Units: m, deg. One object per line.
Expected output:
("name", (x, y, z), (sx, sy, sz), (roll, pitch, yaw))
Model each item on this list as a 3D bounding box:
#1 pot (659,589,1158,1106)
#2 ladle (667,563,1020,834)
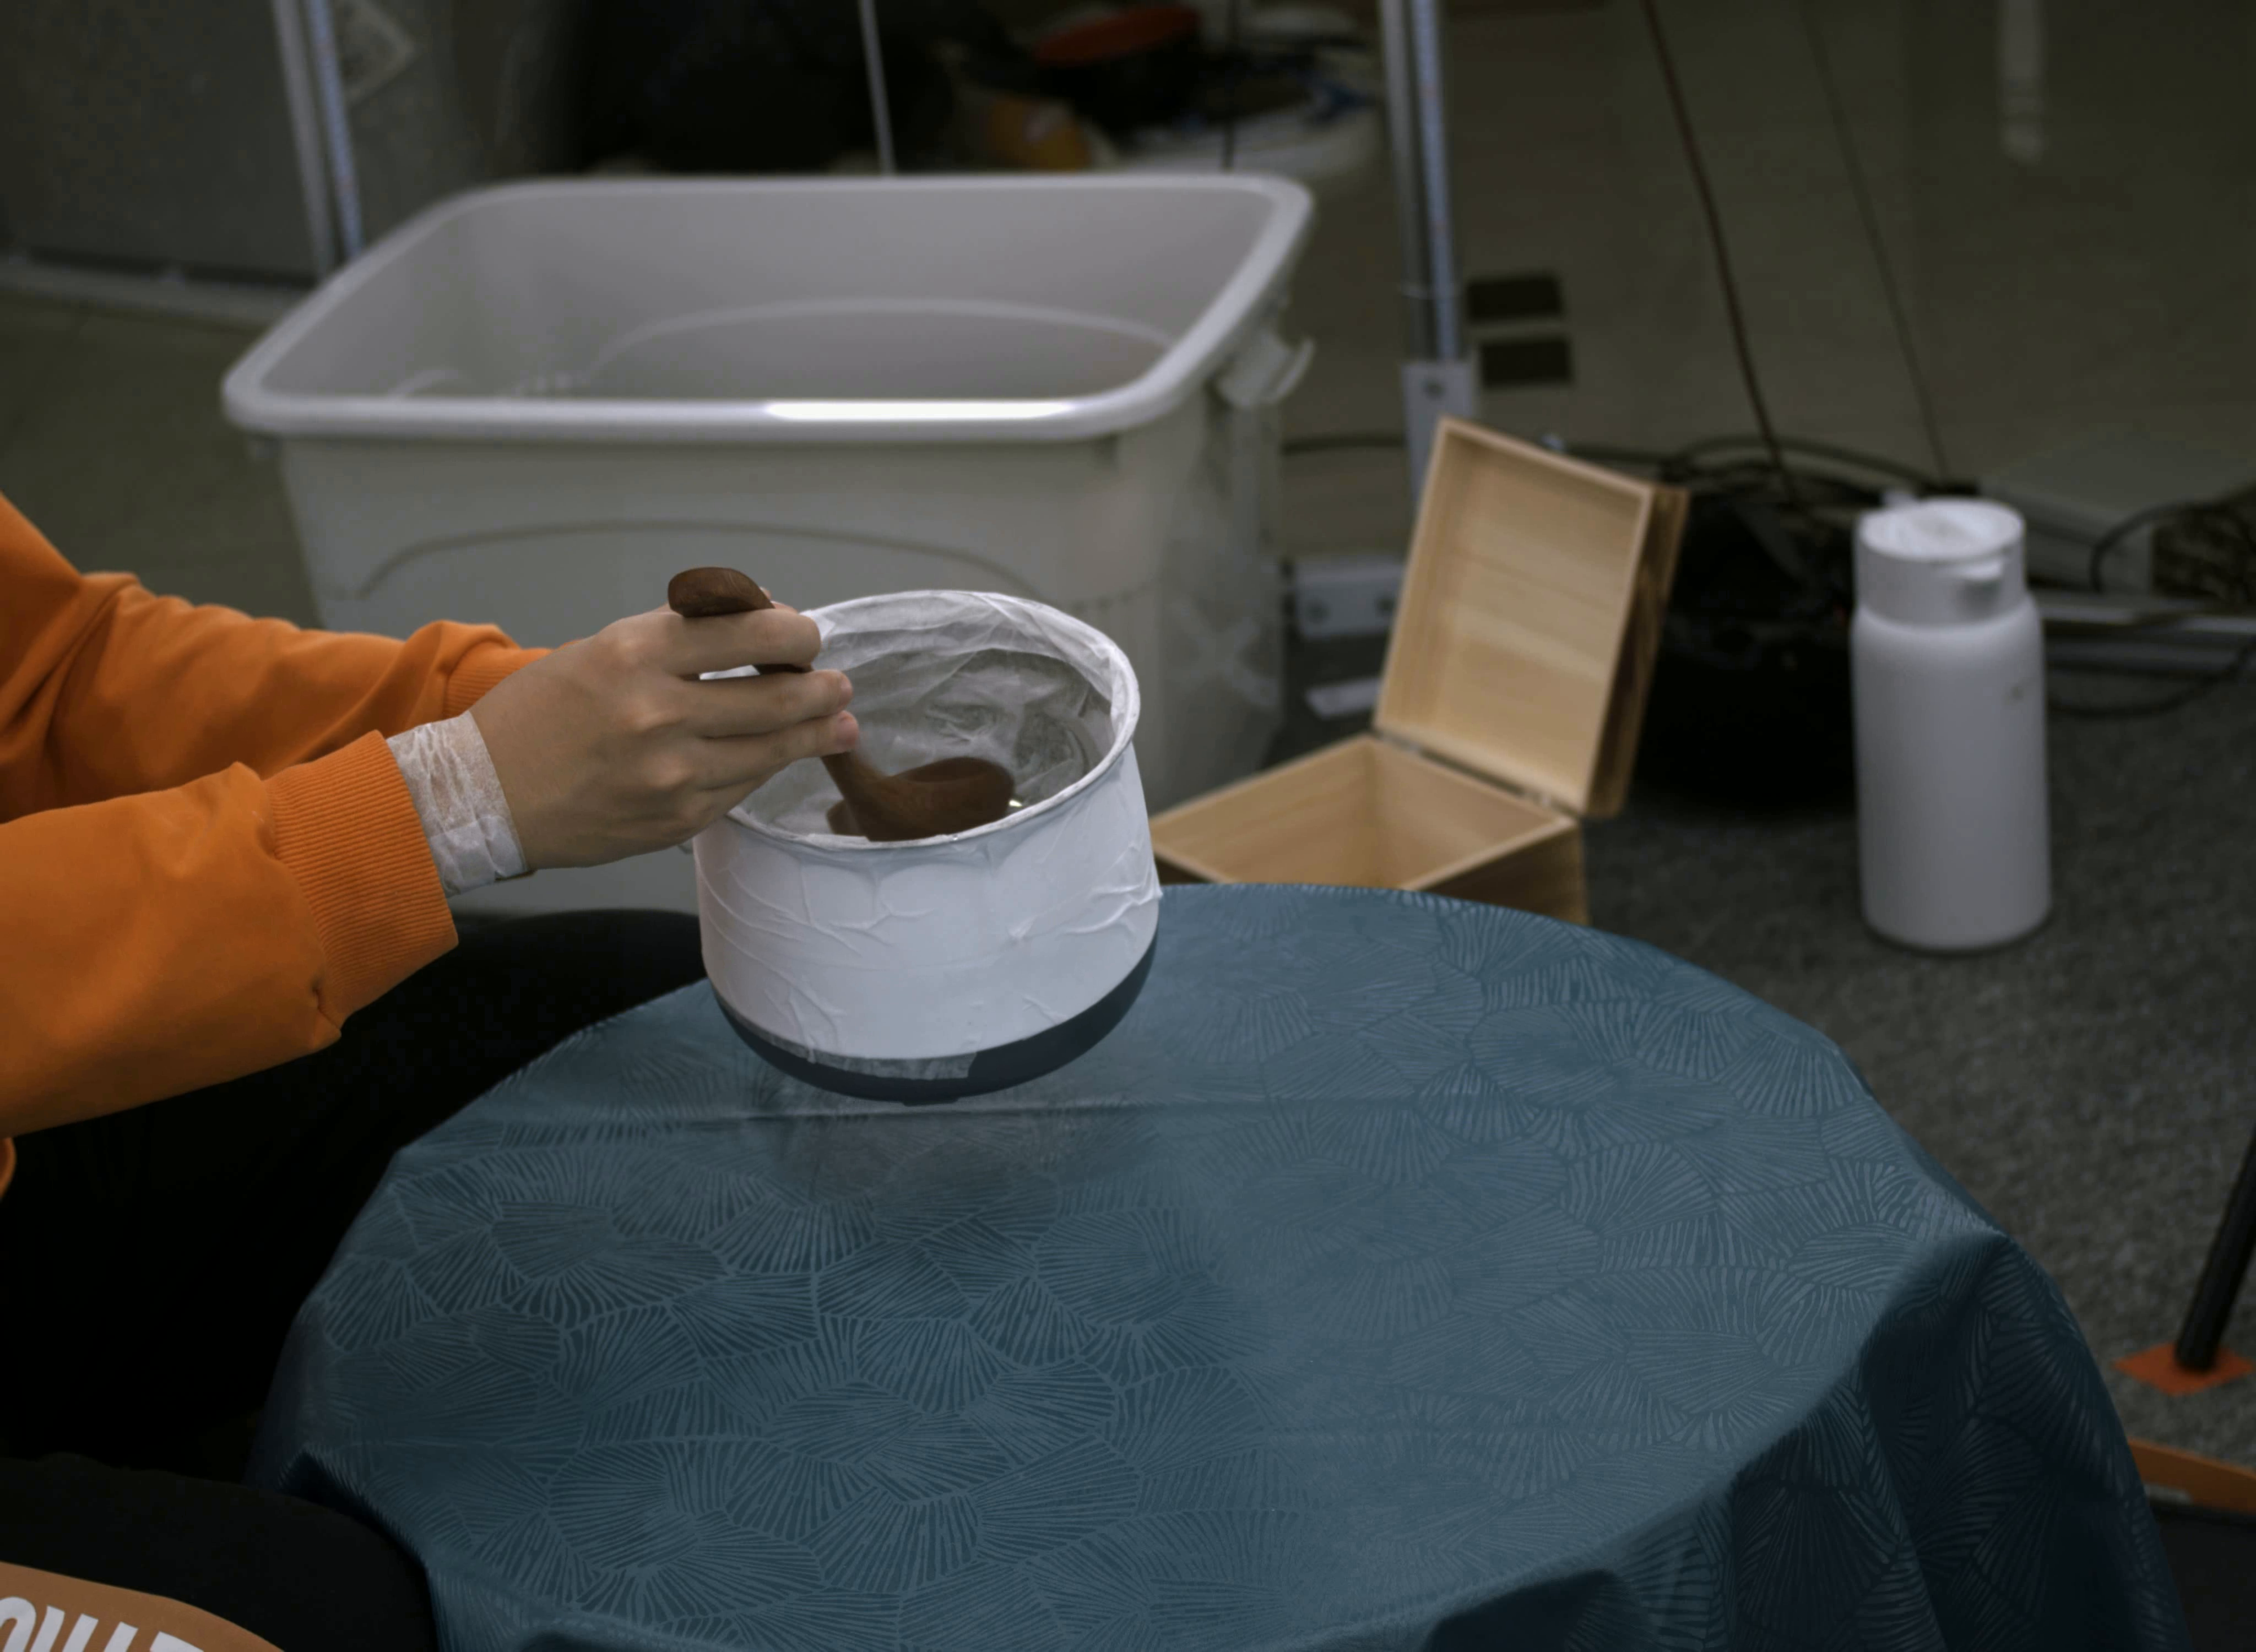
("pot", (-0.098, 0.001, 2.171), (0.231, 0.139, 0.177), (27, 45, 37))
("ladle", (-0.112, -0.052, 2.090), (0.076, 0.264, 0.064), (-19, 59, 13))
